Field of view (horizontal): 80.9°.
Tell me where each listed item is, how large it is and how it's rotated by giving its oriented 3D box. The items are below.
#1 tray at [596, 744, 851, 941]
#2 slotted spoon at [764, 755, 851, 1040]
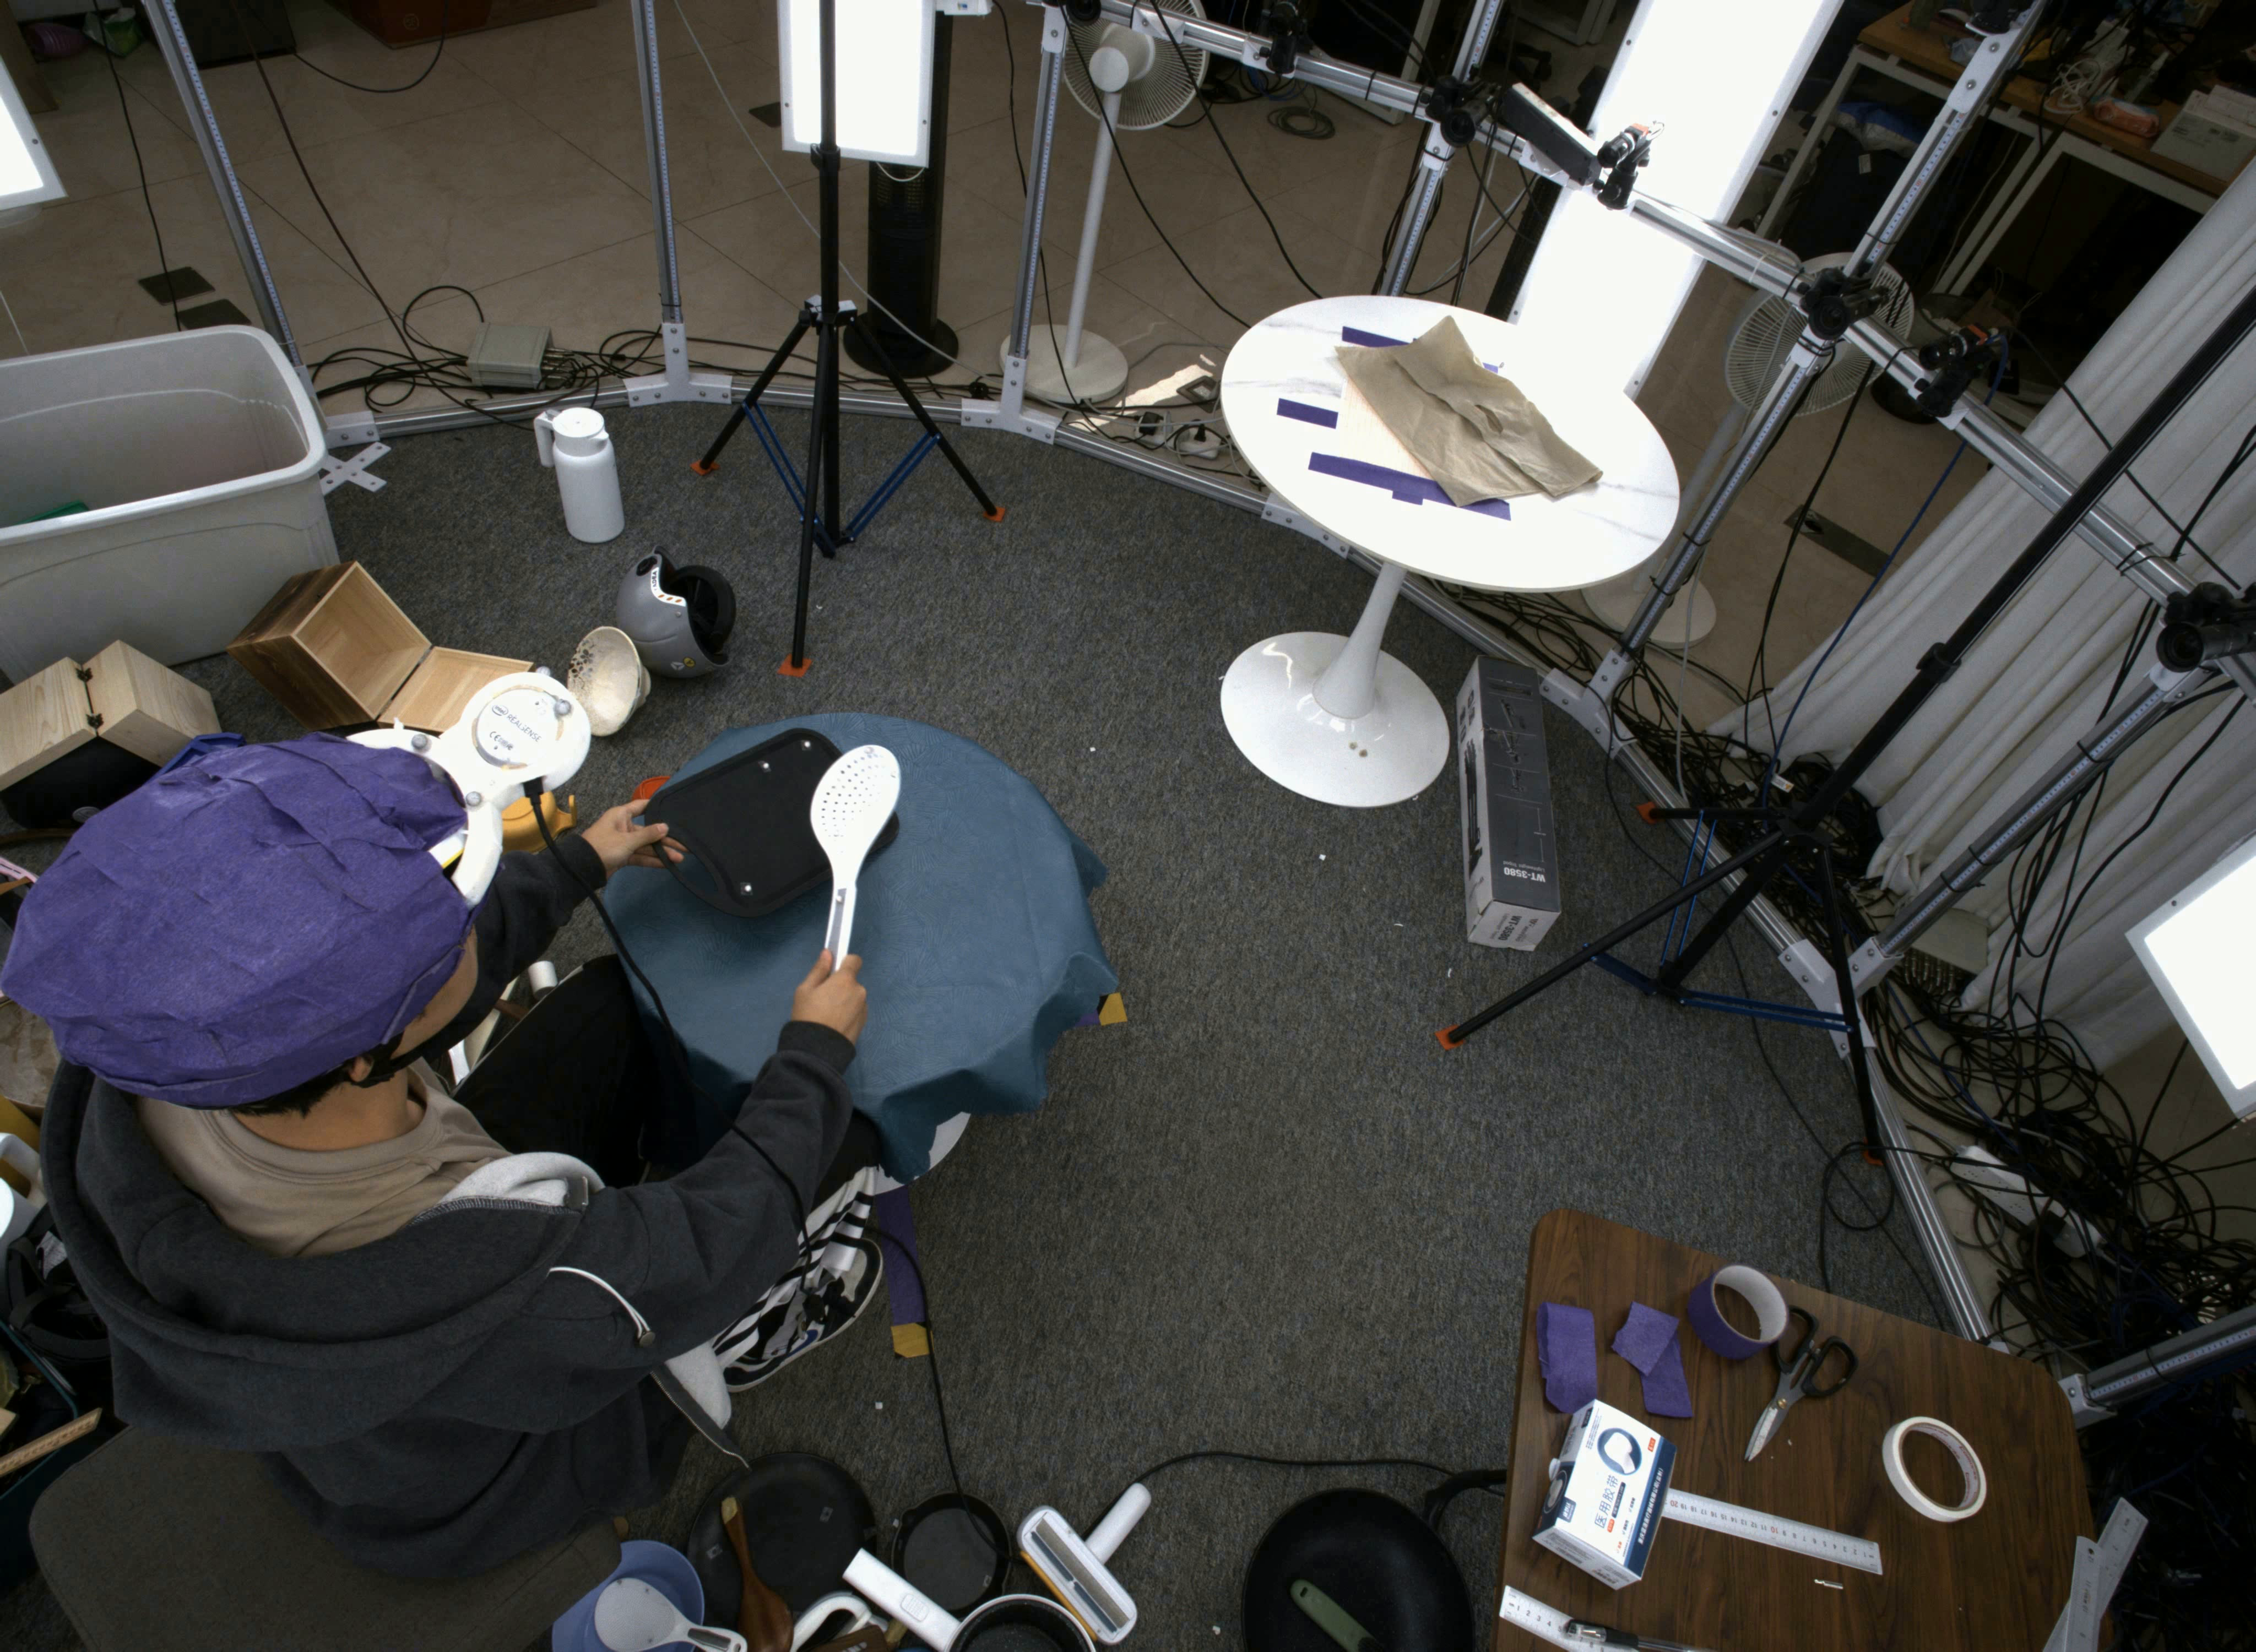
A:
[{"bbox_3d":[-0.508,0.015,1.621,0.210,0.010,0.326,45,41,4],"label":"tray"},{"bbox_3d":[-0.381,0.077,1.516,0.133,0.047,0.345,-14,58,25],"label":"slotted spoon"}]
